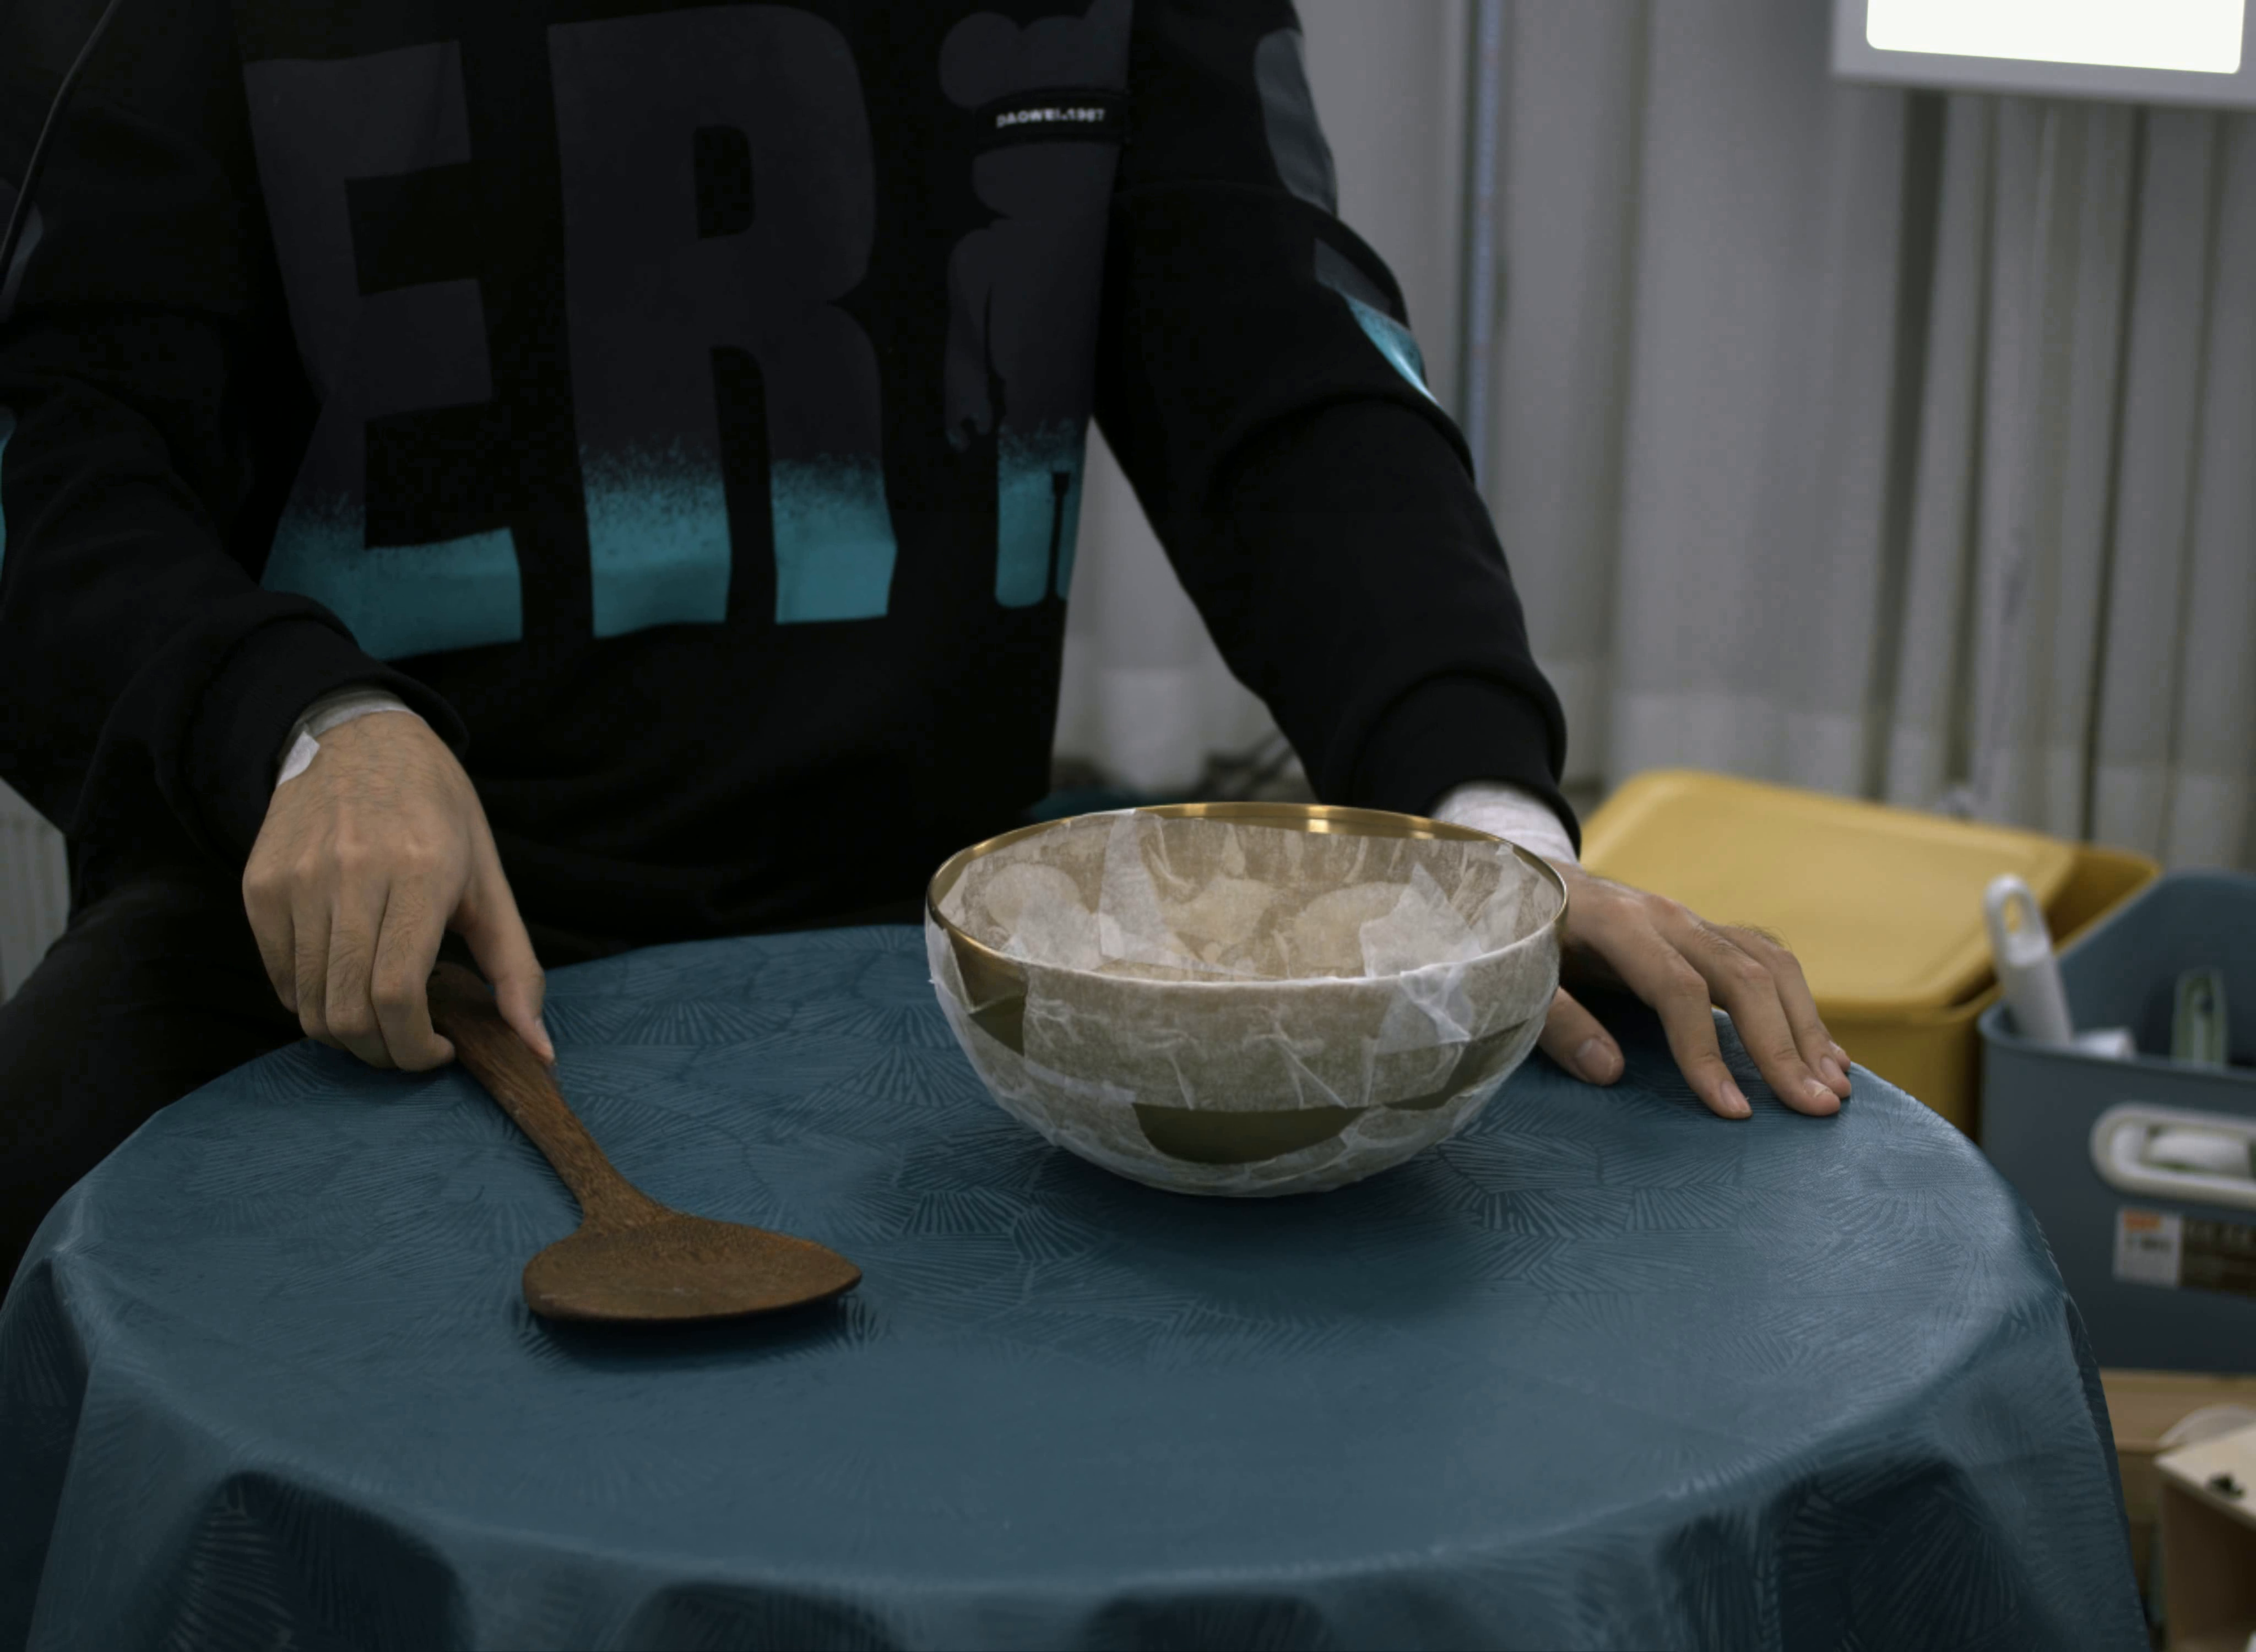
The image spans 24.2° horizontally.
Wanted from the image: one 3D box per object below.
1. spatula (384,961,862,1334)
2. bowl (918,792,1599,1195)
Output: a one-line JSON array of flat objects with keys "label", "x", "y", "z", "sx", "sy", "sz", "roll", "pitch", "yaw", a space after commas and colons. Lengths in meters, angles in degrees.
[{"label": "spatula", "x": -0.181, "y": 0.095, "z": 1.657, "sx": 0.096, "sy": 0.016, "sz": 0.381, "roll": -5, "pitch": 16, "yaw": -20}, {"label": "bowl", "x": 0.039, "y": 0.060, "z": 1.641, "sx": 0.214, "sy": 0.095, "sz": 0.213, "roll": -1, "pitch": 16, "yaw": 1}]
